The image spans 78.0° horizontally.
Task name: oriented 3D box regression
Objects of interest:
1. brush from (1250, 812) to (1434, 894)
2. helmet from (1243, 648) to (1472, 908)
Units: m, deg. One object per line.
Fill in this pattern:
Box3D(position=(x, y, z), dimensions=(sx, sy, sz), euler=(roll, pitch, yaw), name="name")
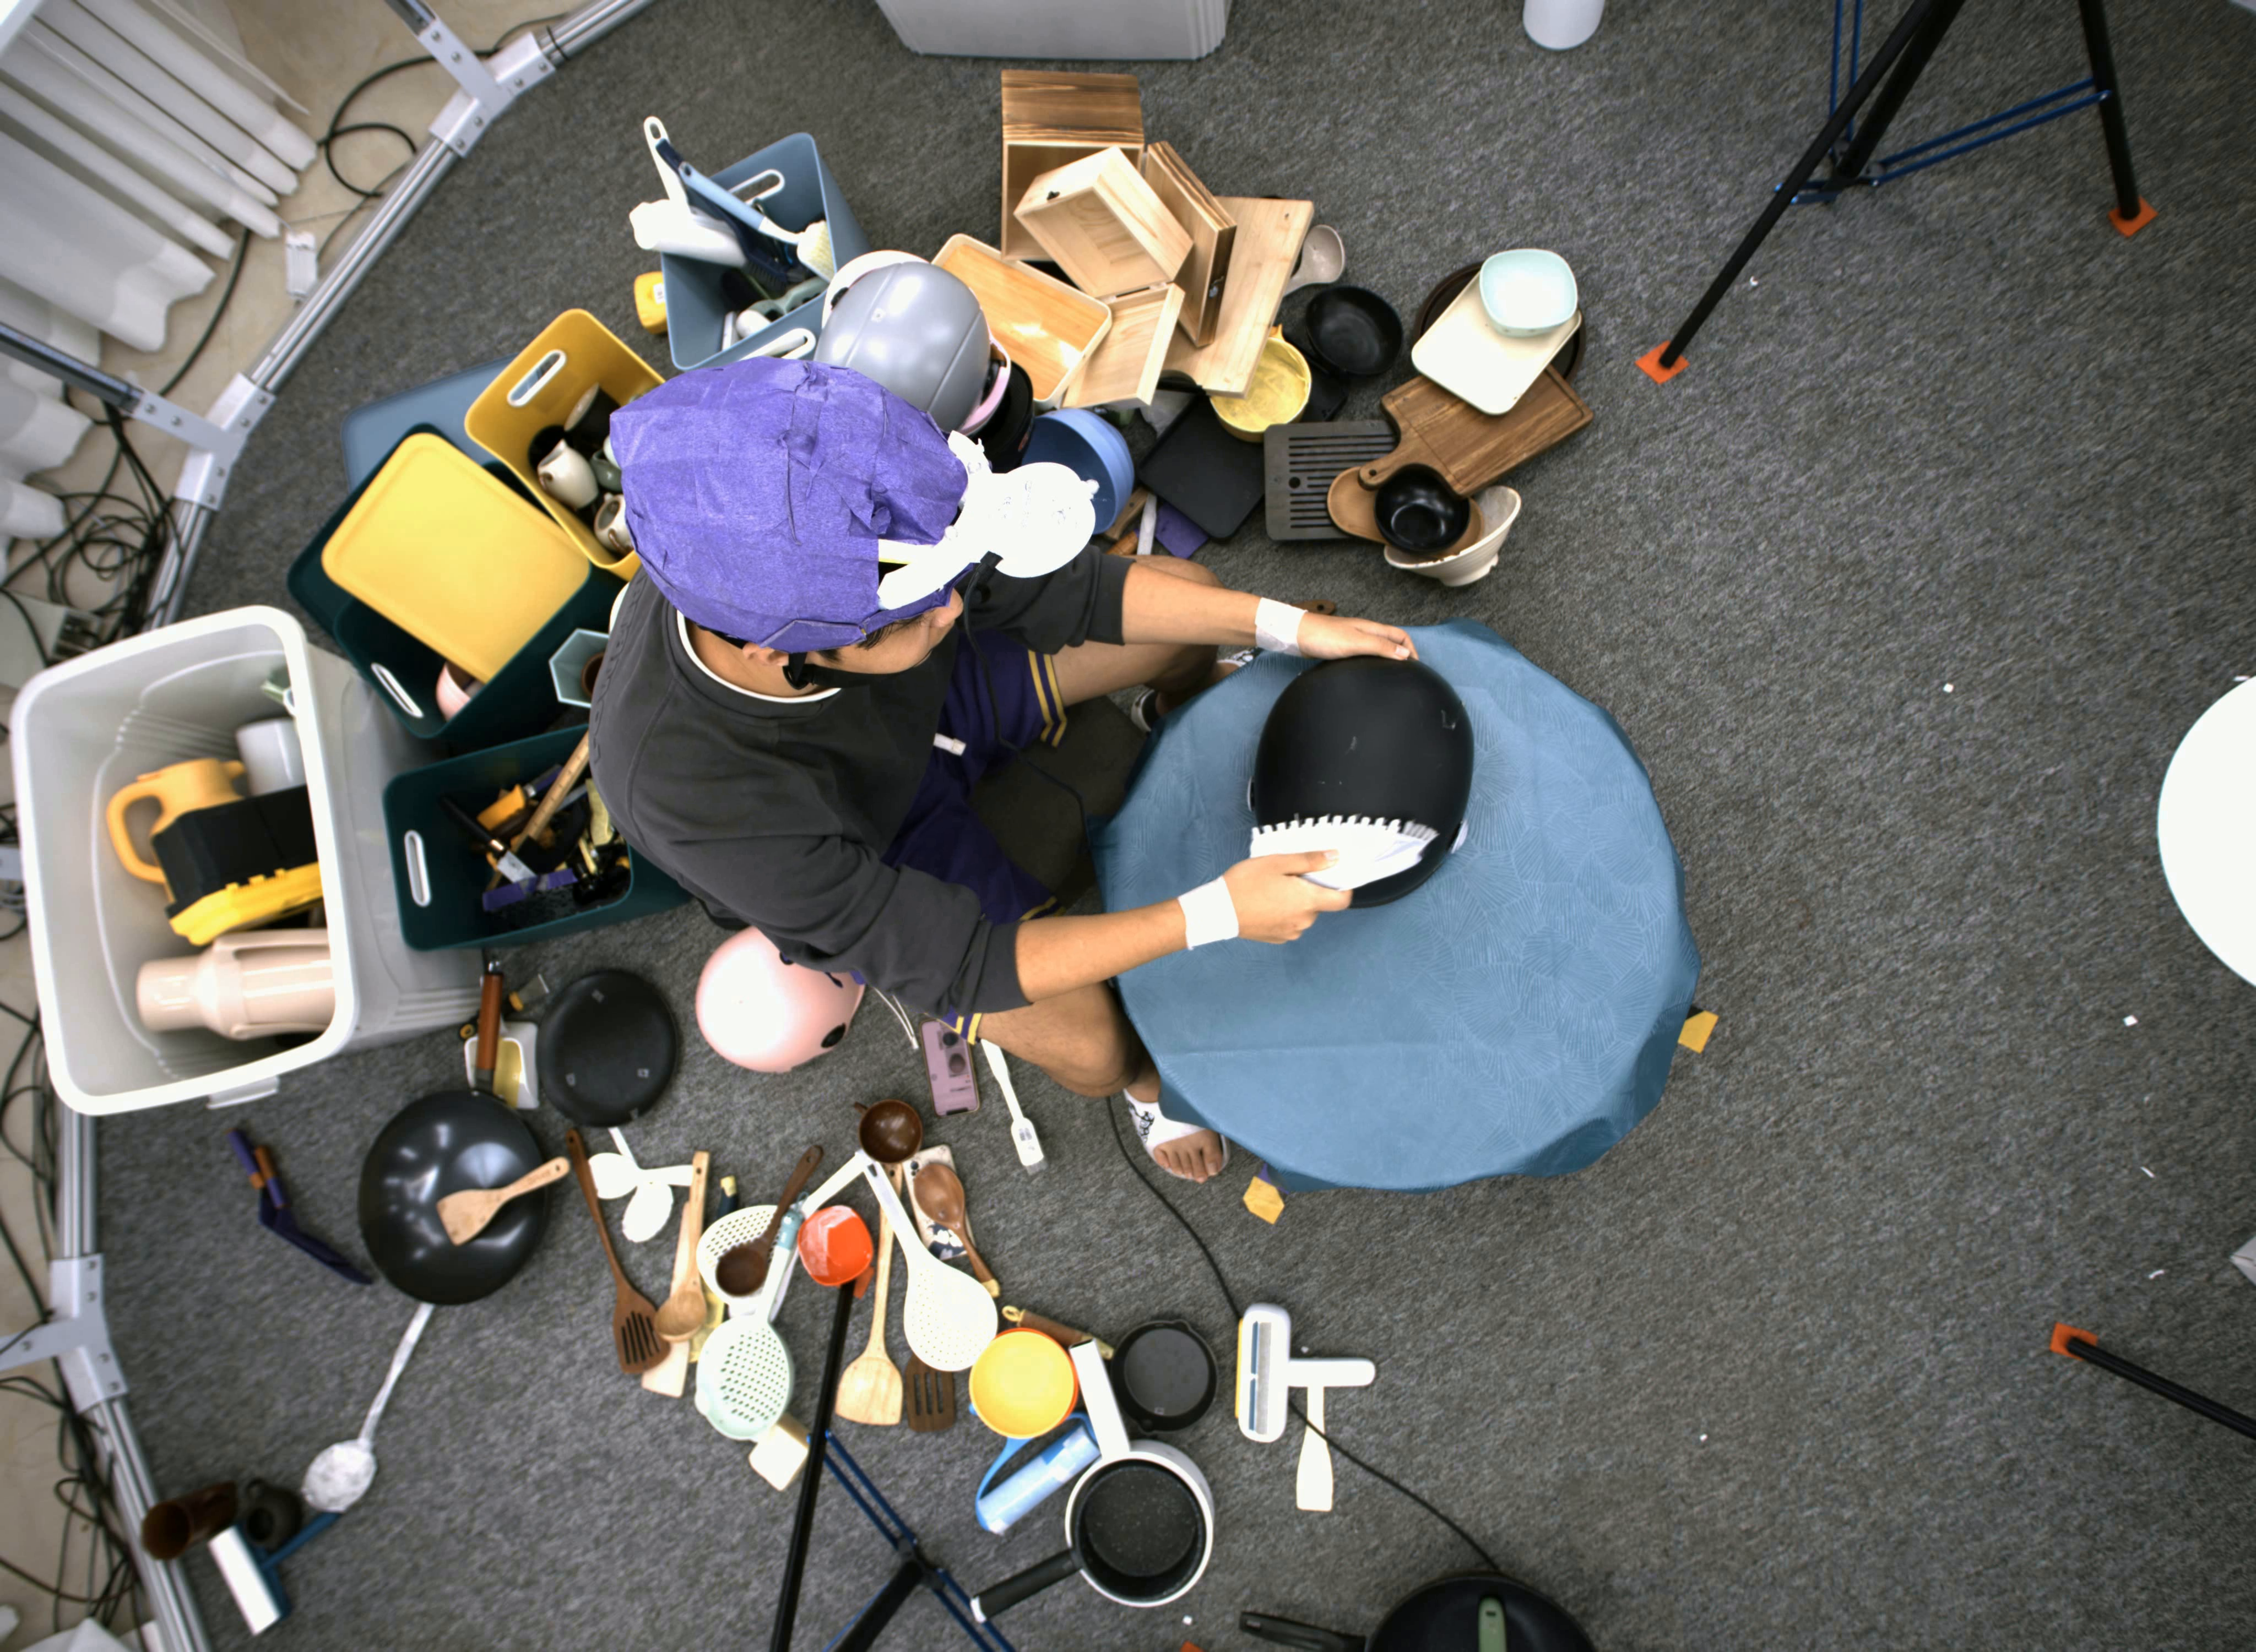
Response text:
Box3D(position=(0.200, 0.028, 1.295), dimensions=(0.176, 0.092, 0.062), euler=(-5, 116, 12), name="brush")
Box3D(position=(0.231, -0.054, 1.390), dimensions=(0.230, 0.166, 0.273), euler=(14, 92, 13), name="helmet")
